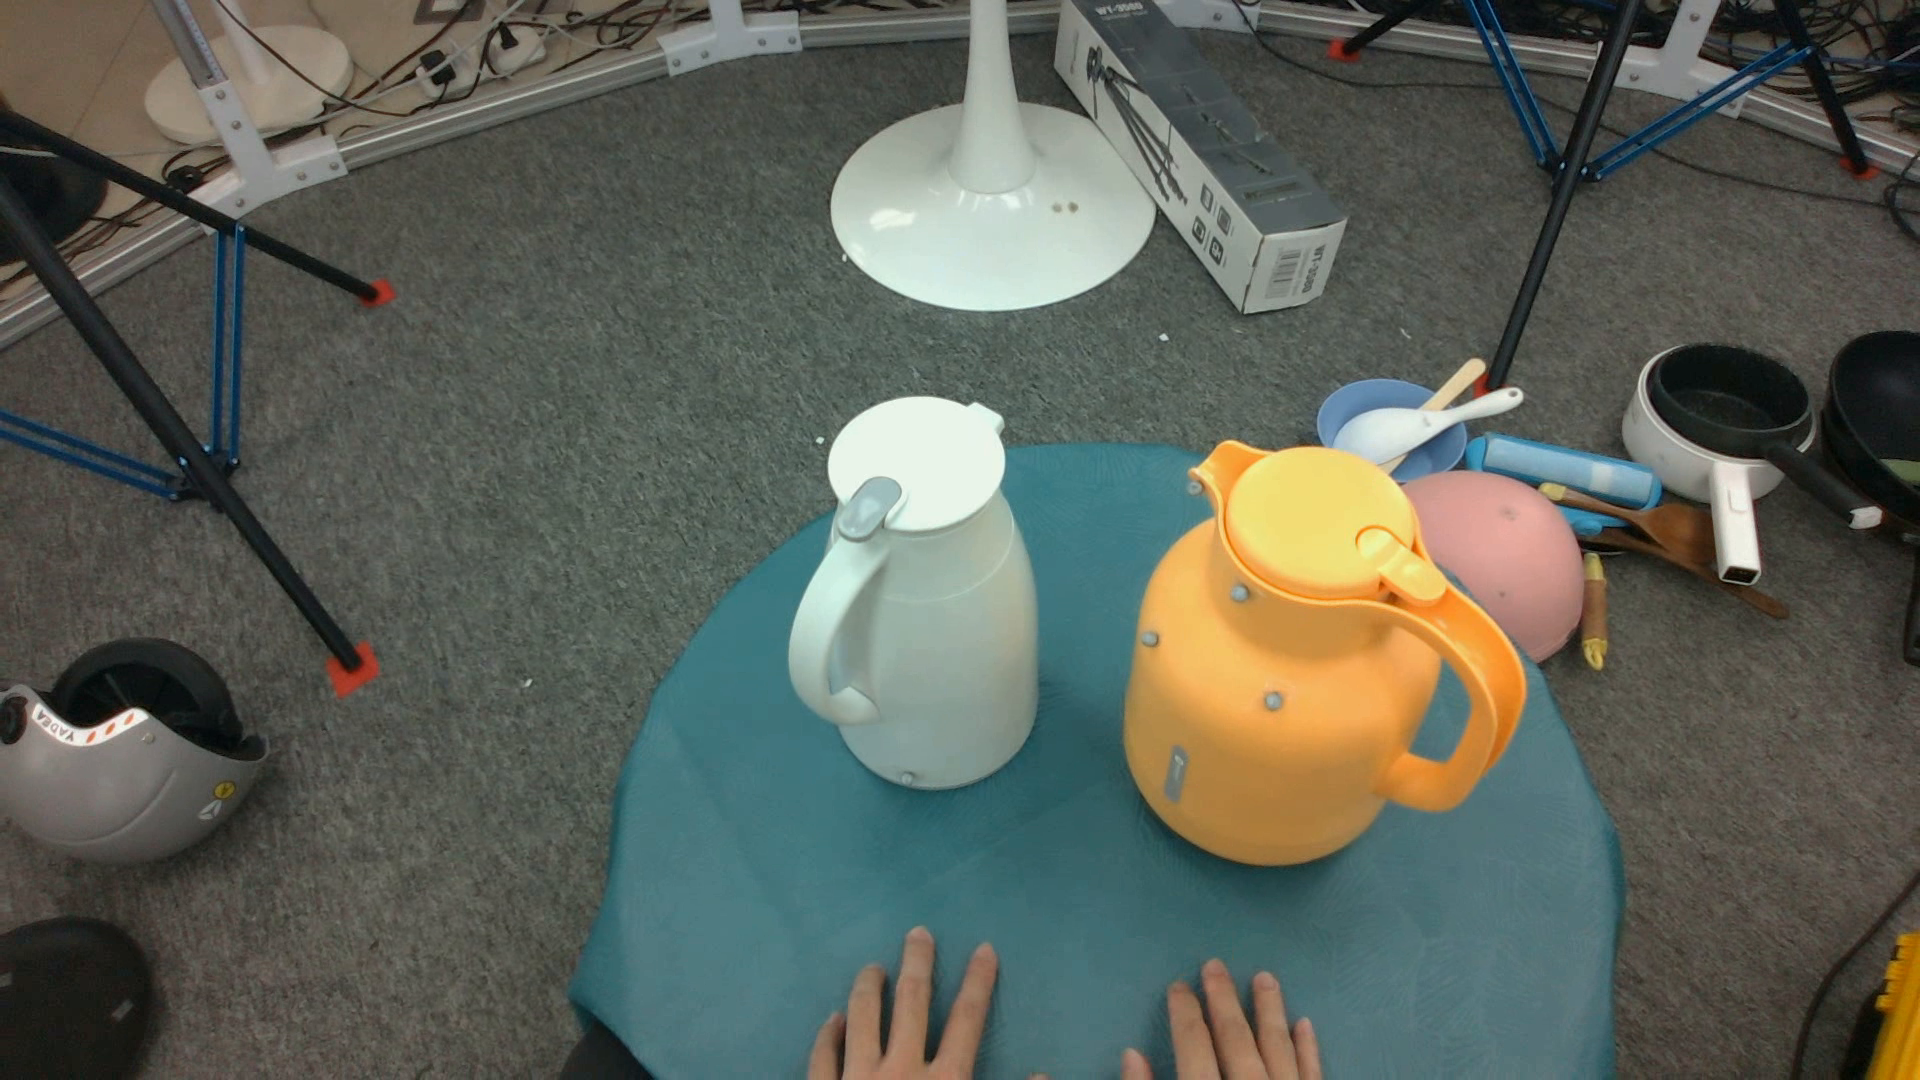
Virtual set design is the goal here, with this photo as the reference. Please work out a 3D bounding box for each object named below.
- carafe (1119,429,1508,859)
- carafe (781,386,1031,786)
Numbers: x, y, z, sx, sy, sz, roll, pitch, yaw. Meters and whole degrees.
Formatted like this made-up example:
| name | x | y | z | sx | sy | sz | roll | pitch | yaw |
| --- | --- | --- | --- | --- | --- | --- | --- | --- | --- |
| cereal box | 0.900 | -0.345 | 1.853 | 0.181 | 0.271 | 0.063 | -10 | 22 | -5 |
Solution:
| name | x | y | z | sx | sy | sz | roll | pitch | yaw |
| --- | --- | --- | --- | --- | --- | --- | --- | --- | --- |
| carafe | 0.185 | 0.068 | 0.750 | 0.164 | 0.259 | 0.202 | -38 | 59 | -22 |
| carafe | -0.034 | 0.038 | 0.785 | 0.132 | 0.247 | 0.168 | 29 | 59 | 22 |
